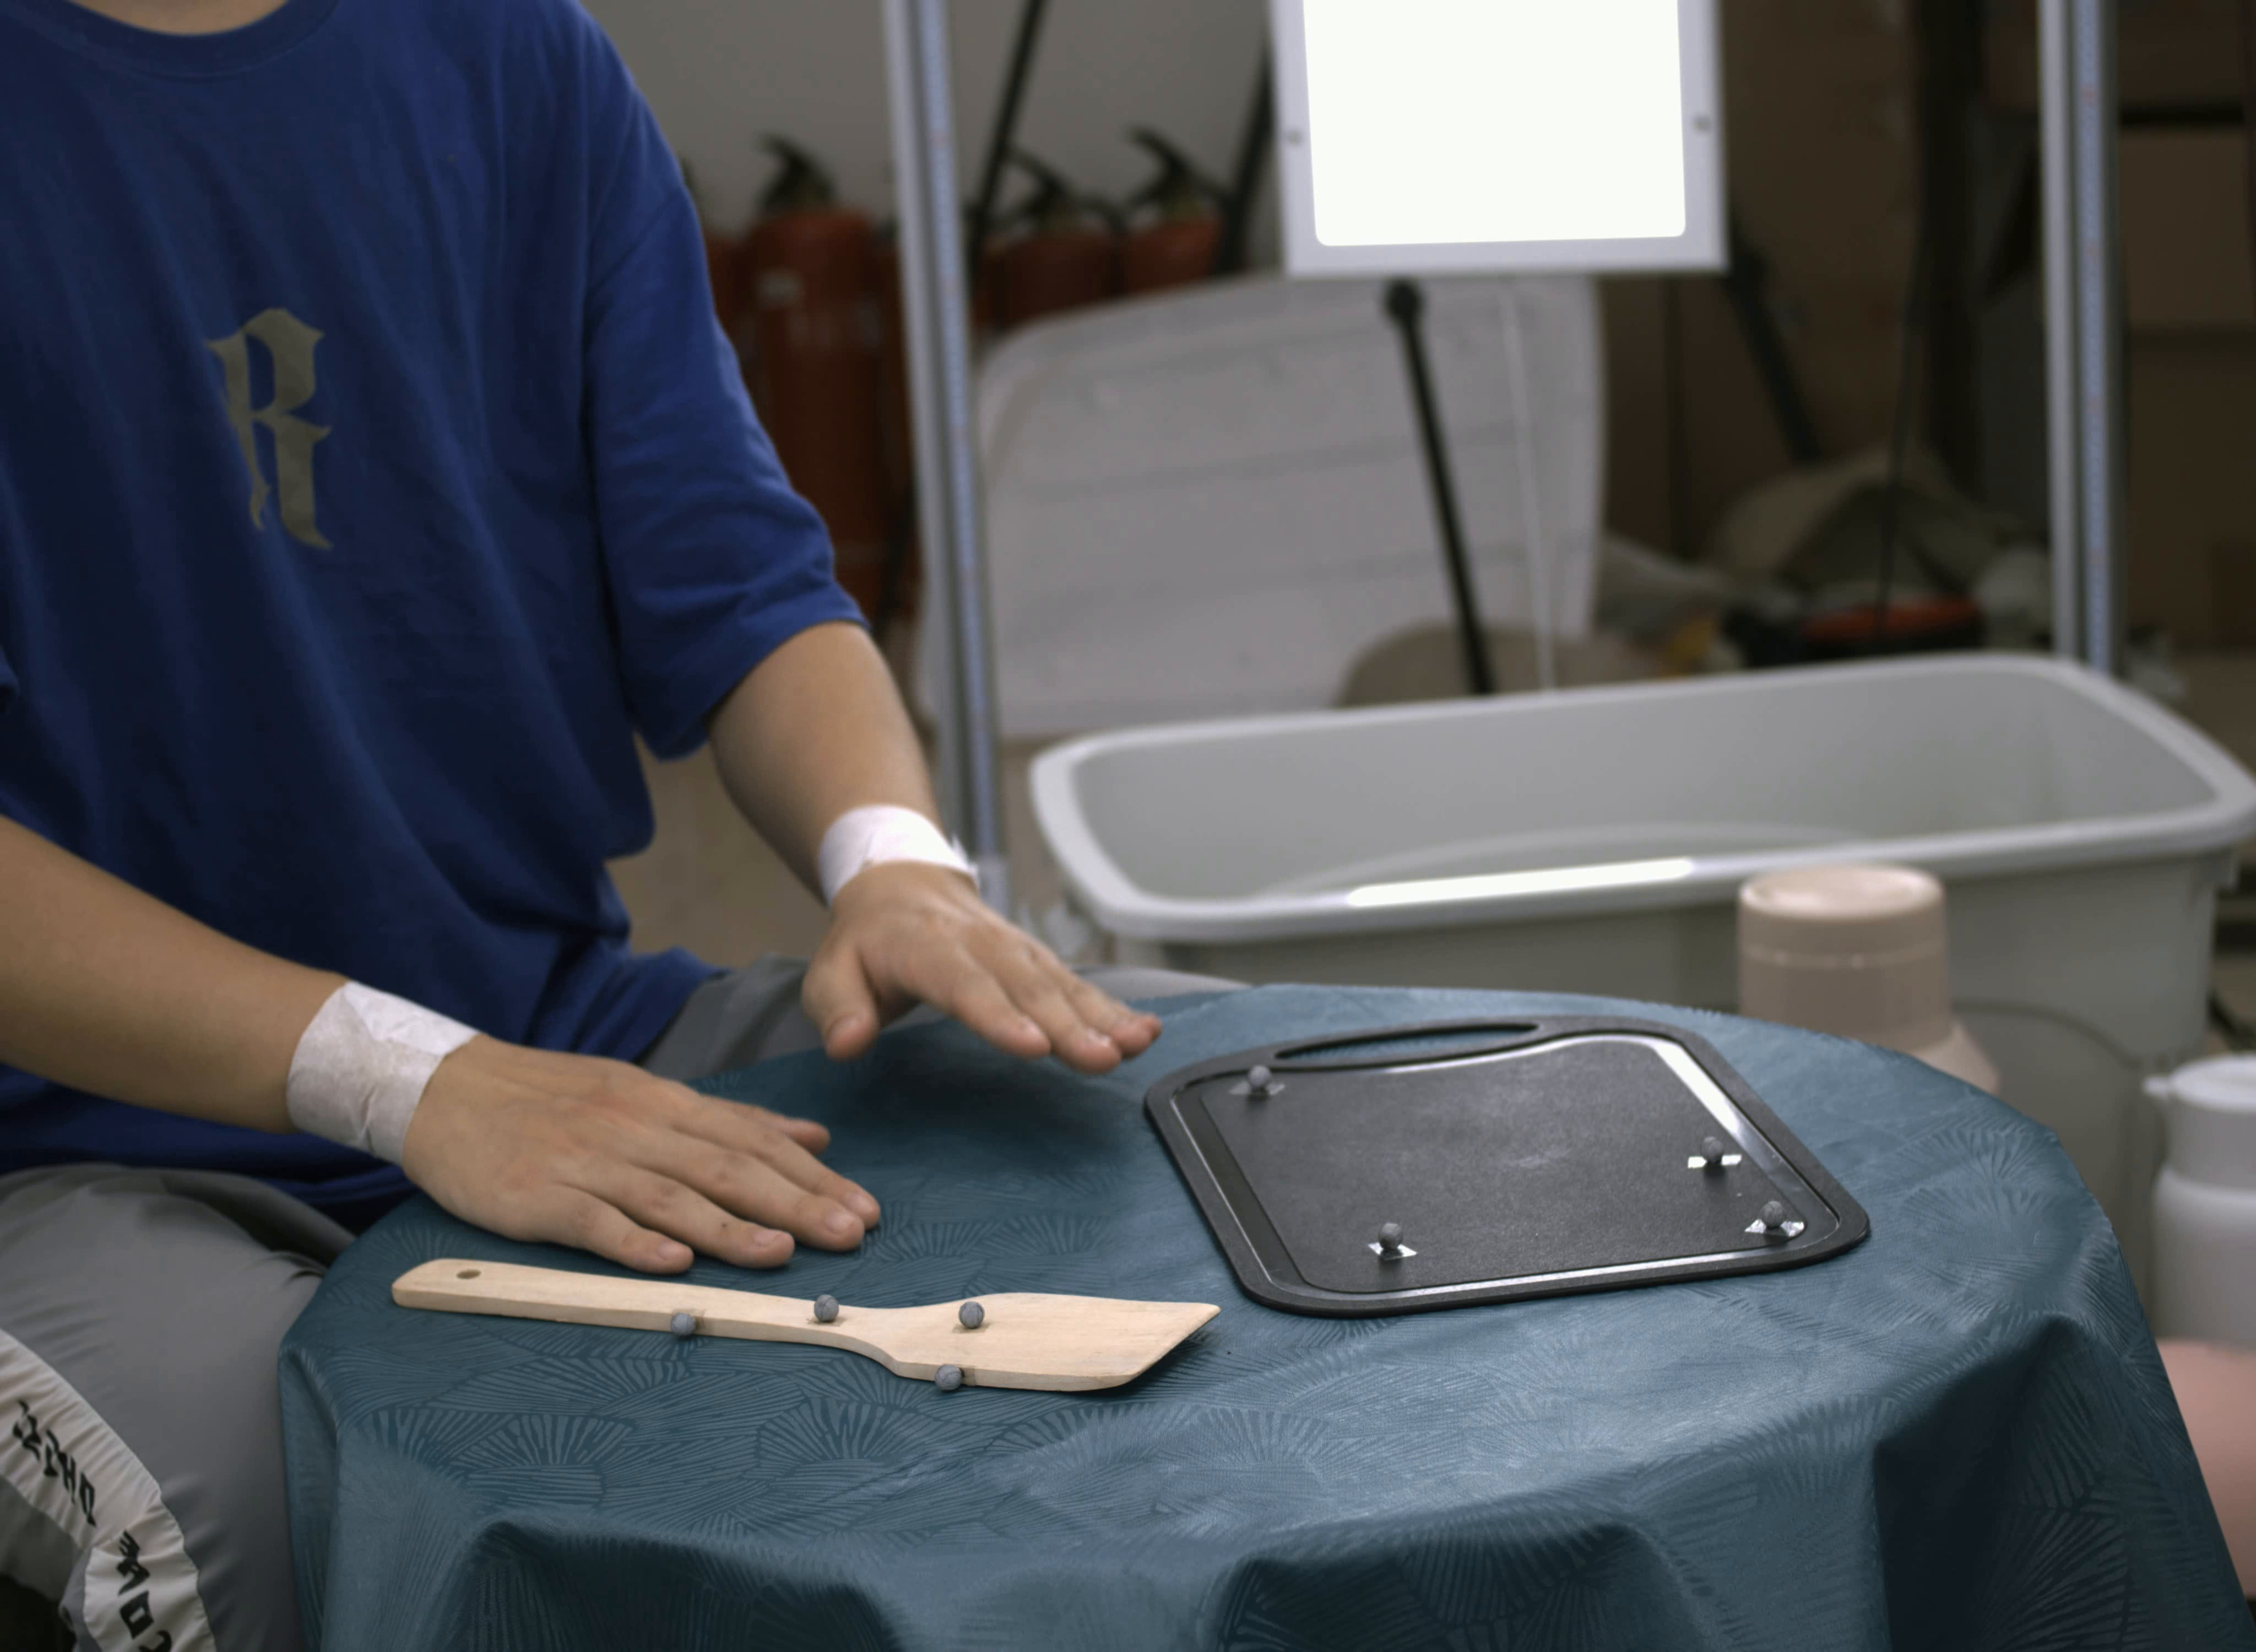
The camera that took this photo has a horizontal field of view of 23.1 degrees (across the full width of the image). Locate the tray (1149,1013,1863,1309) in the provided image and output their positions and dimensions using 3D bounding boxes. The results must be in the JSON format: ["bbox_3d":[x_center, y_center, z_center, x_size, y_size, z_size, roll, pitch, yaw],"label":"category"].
[{"bbox_3d":[0.123,0.110,1.905,0.210,0.010,0.326,-6,14,-5],"label":"tray"}]

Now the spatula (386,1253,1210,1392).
[{"bbox_3d":[-0.116,0.158,1.790,0.298,0.011,0.071,3,17,29],"label":"spatula"}]
